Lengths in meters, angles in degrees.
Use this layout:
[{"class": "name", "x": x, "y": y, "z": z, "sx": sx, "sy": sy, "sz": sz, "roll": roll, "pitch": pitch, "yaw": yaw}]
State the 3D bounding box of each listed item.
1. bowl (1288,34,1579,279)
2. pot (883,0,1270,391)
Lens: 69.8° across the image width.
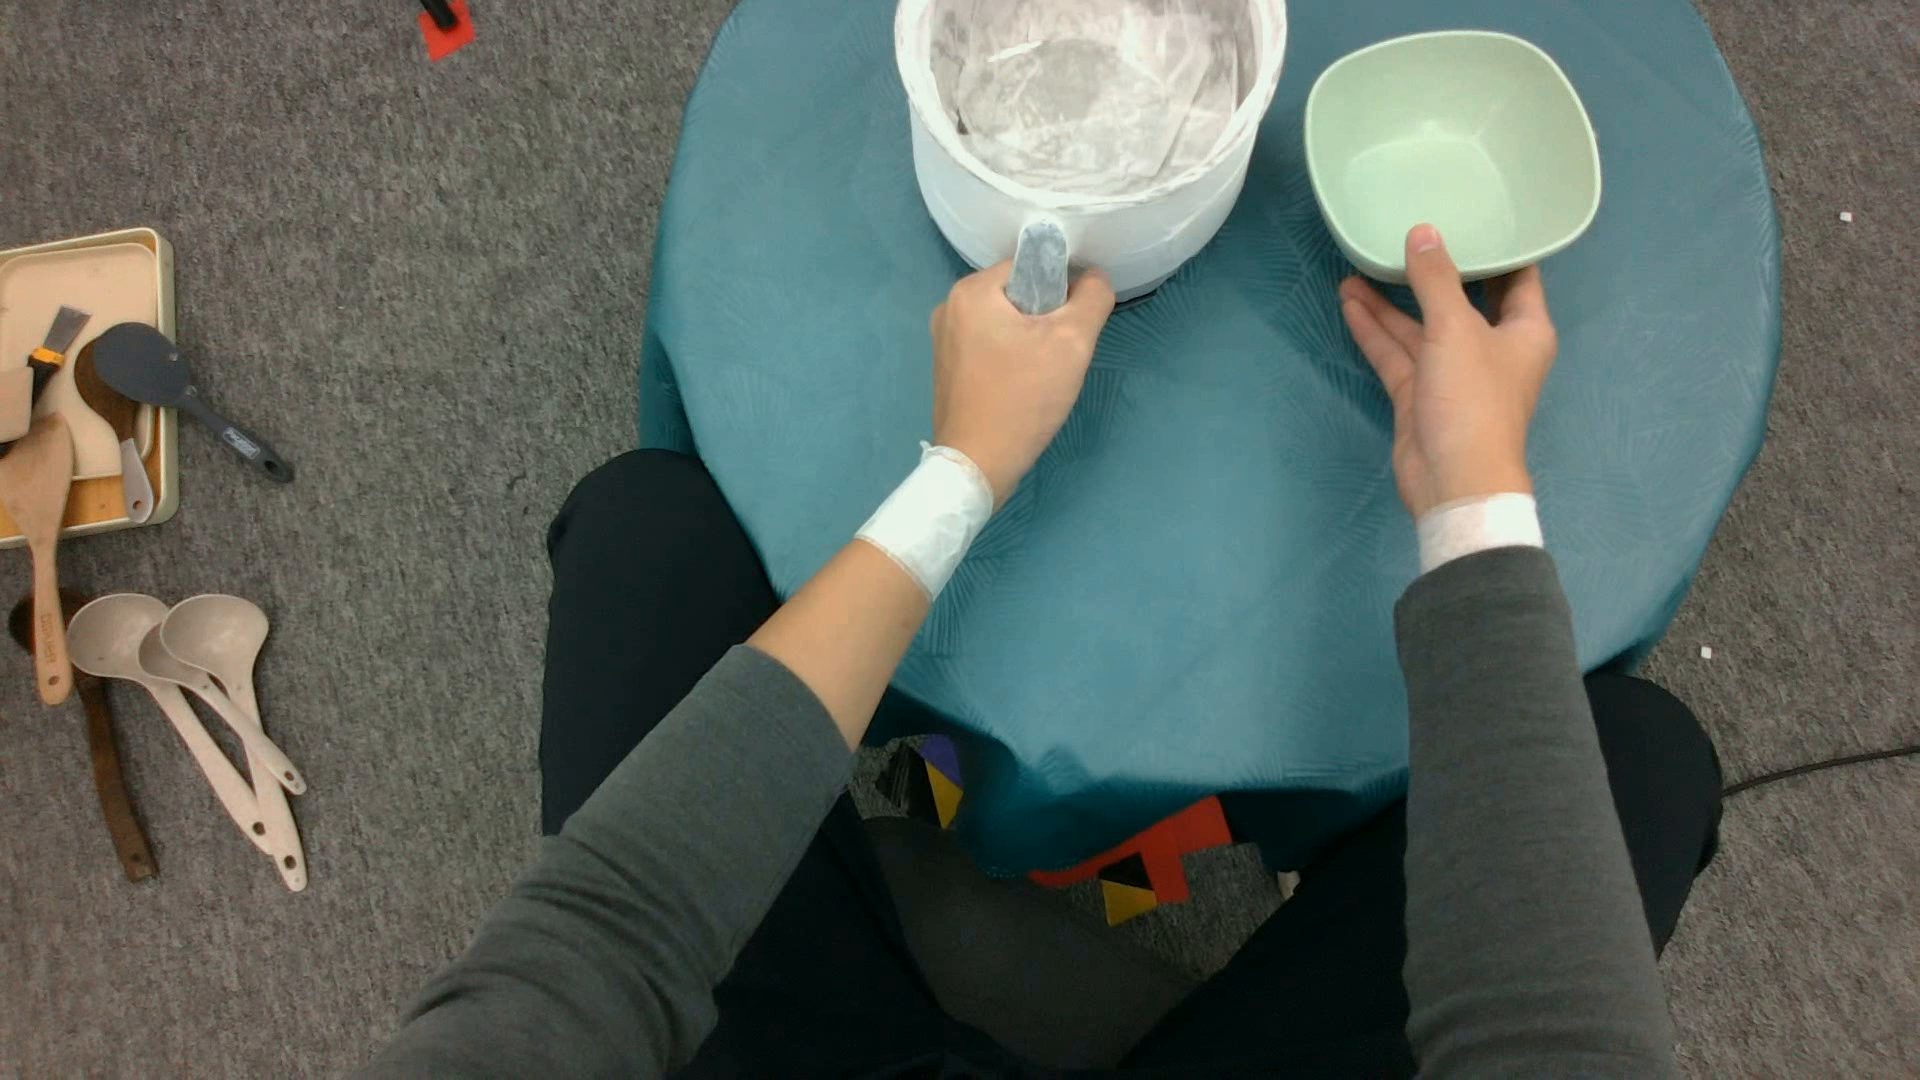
[{"class": "bowl", "x": 0.238, "y": -0.188, "z": 0.713, "sx": 0.151, "sy": 0.058, "sz": 0.152, "roll": -1, "pitch": 68, "yaw": 3}, {"class": "pot", "x": 0.049, "y": -0.196, "z": 0.686, "sx": 0.178, "sy": 0.136, "sz": 0.234, "roll": 11, "pitch": 78, "yaw": 4}]
